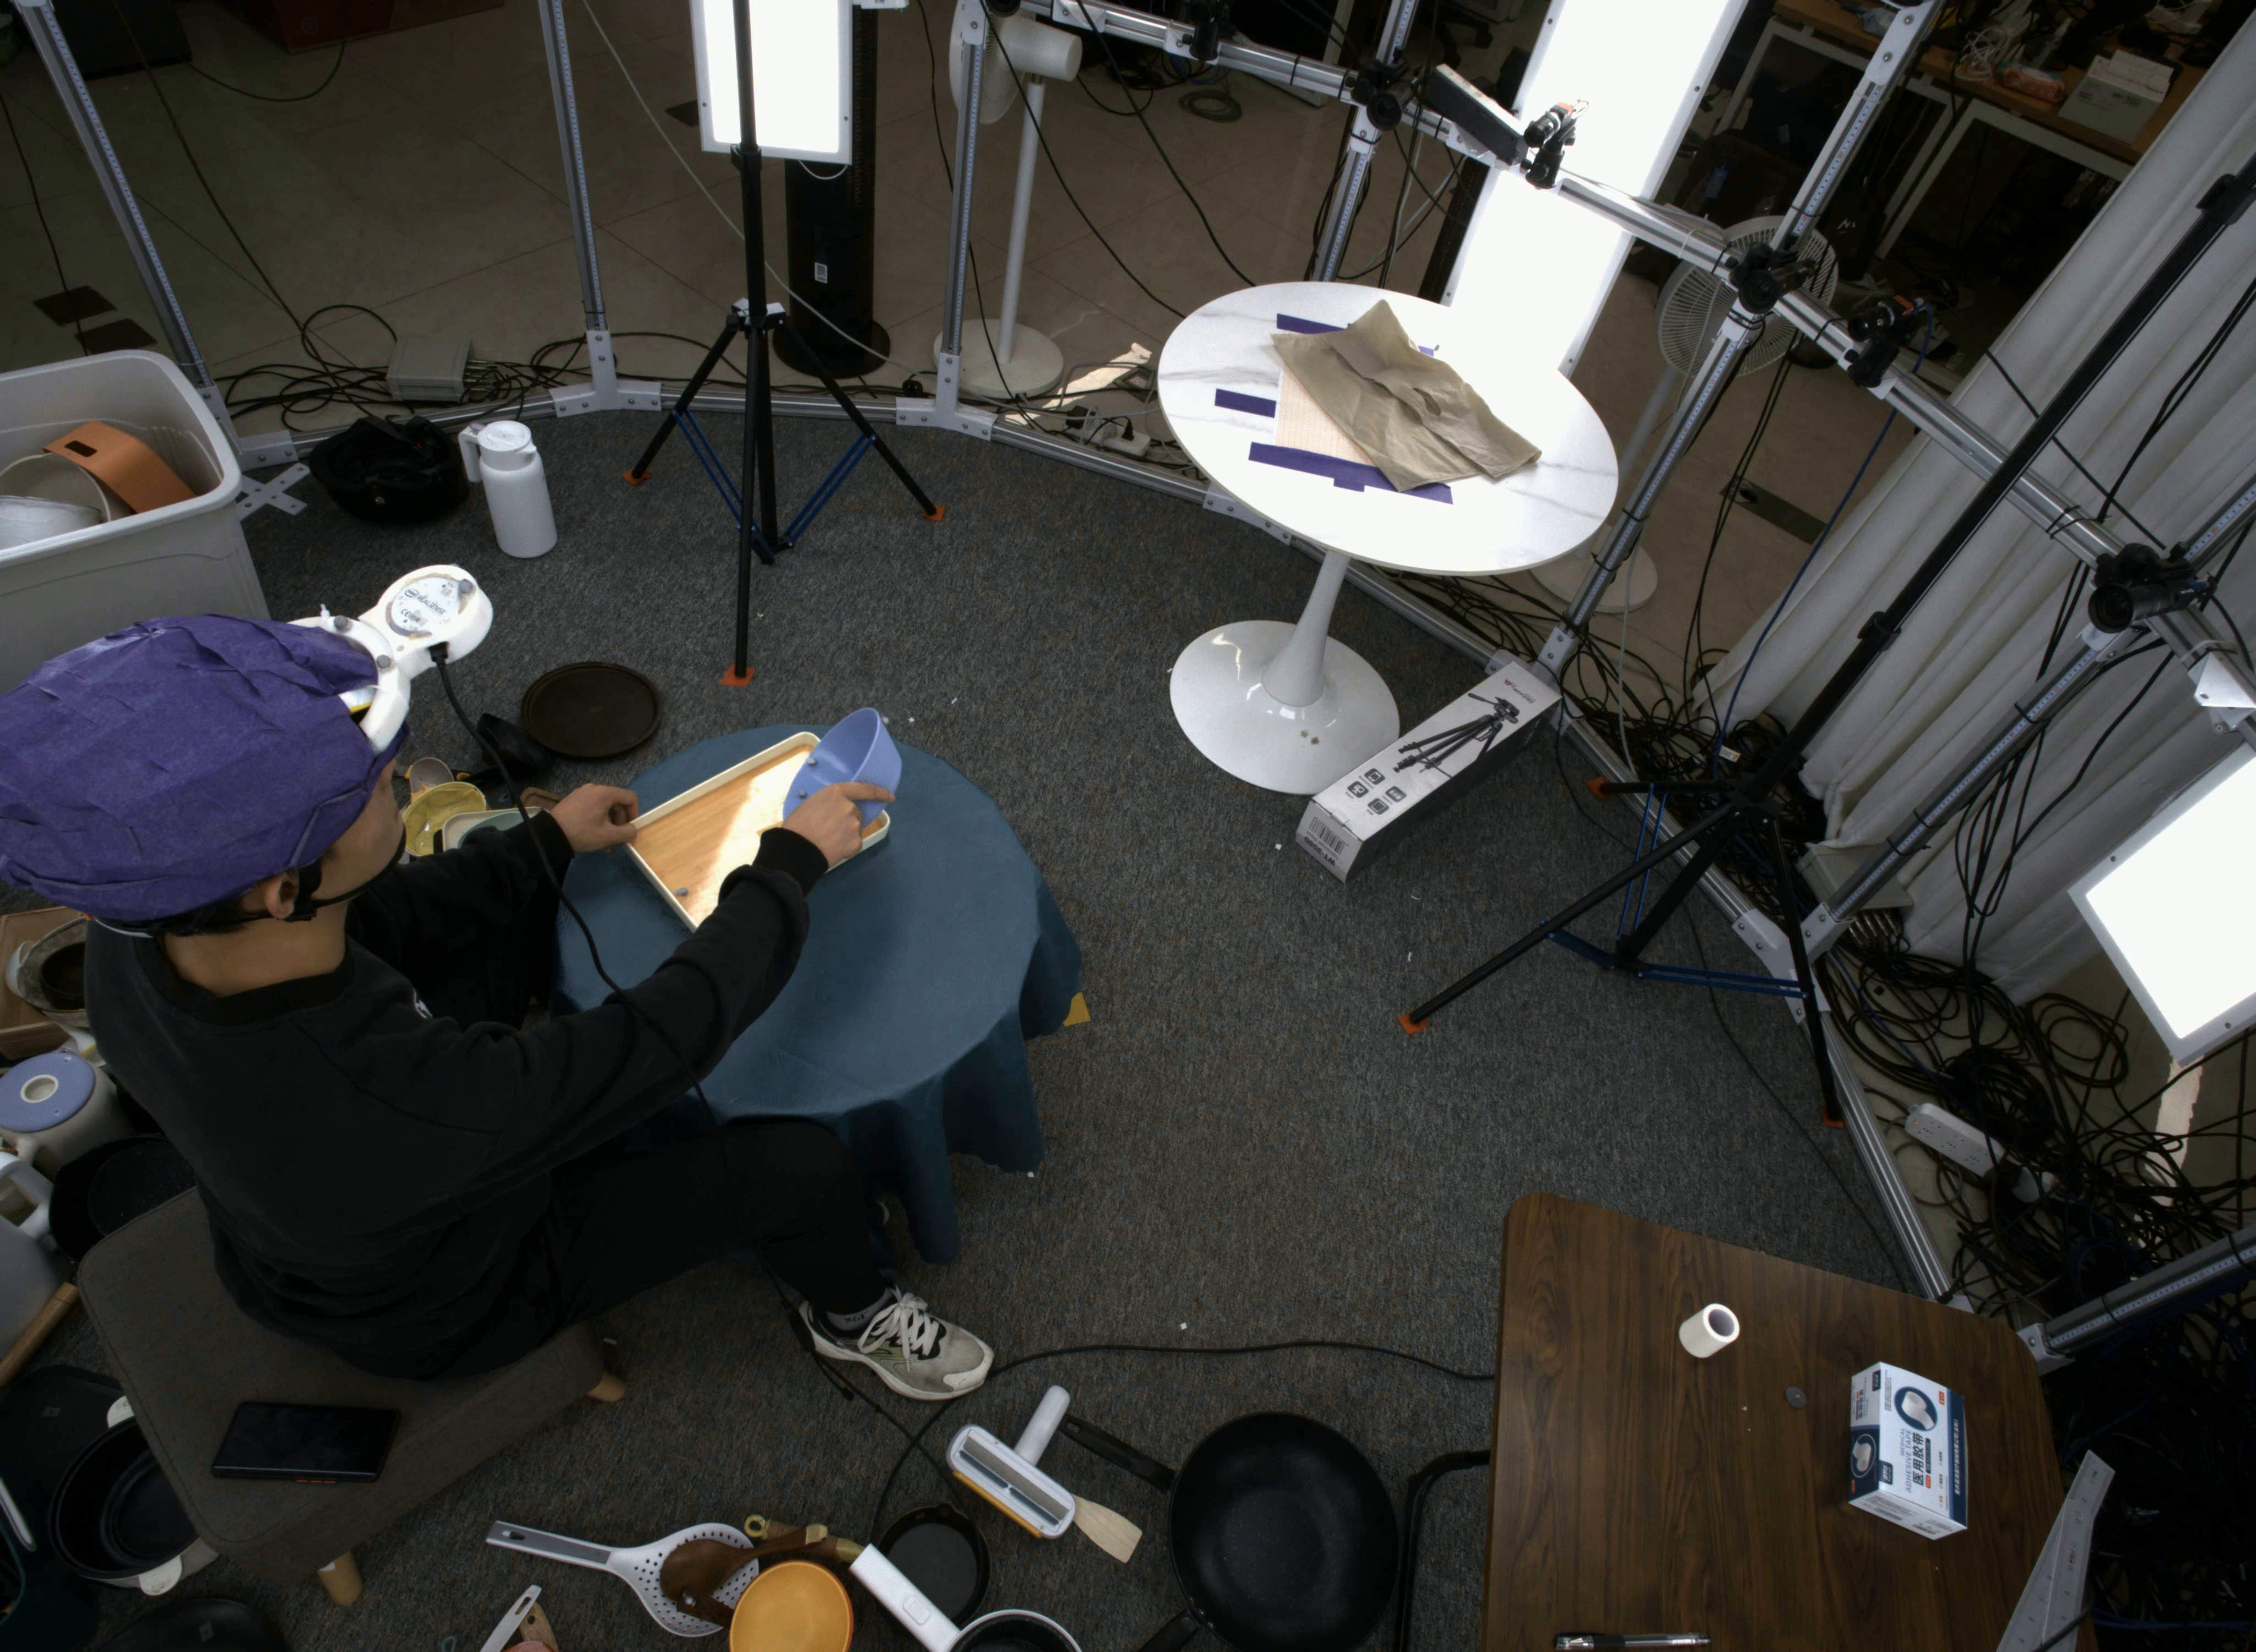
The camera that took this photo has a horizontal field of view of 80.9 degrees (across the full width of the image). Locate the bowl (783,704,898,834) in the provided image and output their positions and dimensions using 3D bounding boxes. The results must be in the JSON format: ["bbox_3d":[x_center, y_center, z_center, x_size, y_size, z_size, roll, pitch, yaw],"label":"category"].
[{"bbox_3d":[-0.342,-0.058,1.584,0.072,0.173,0.173,39,42,-31],"label":"bowl"}]

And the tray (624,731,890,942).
[{"bbox_3d":[-0.478,0.006,1.675,0.189,0.028,0.301,46,54,12],"label":"tray"}]
